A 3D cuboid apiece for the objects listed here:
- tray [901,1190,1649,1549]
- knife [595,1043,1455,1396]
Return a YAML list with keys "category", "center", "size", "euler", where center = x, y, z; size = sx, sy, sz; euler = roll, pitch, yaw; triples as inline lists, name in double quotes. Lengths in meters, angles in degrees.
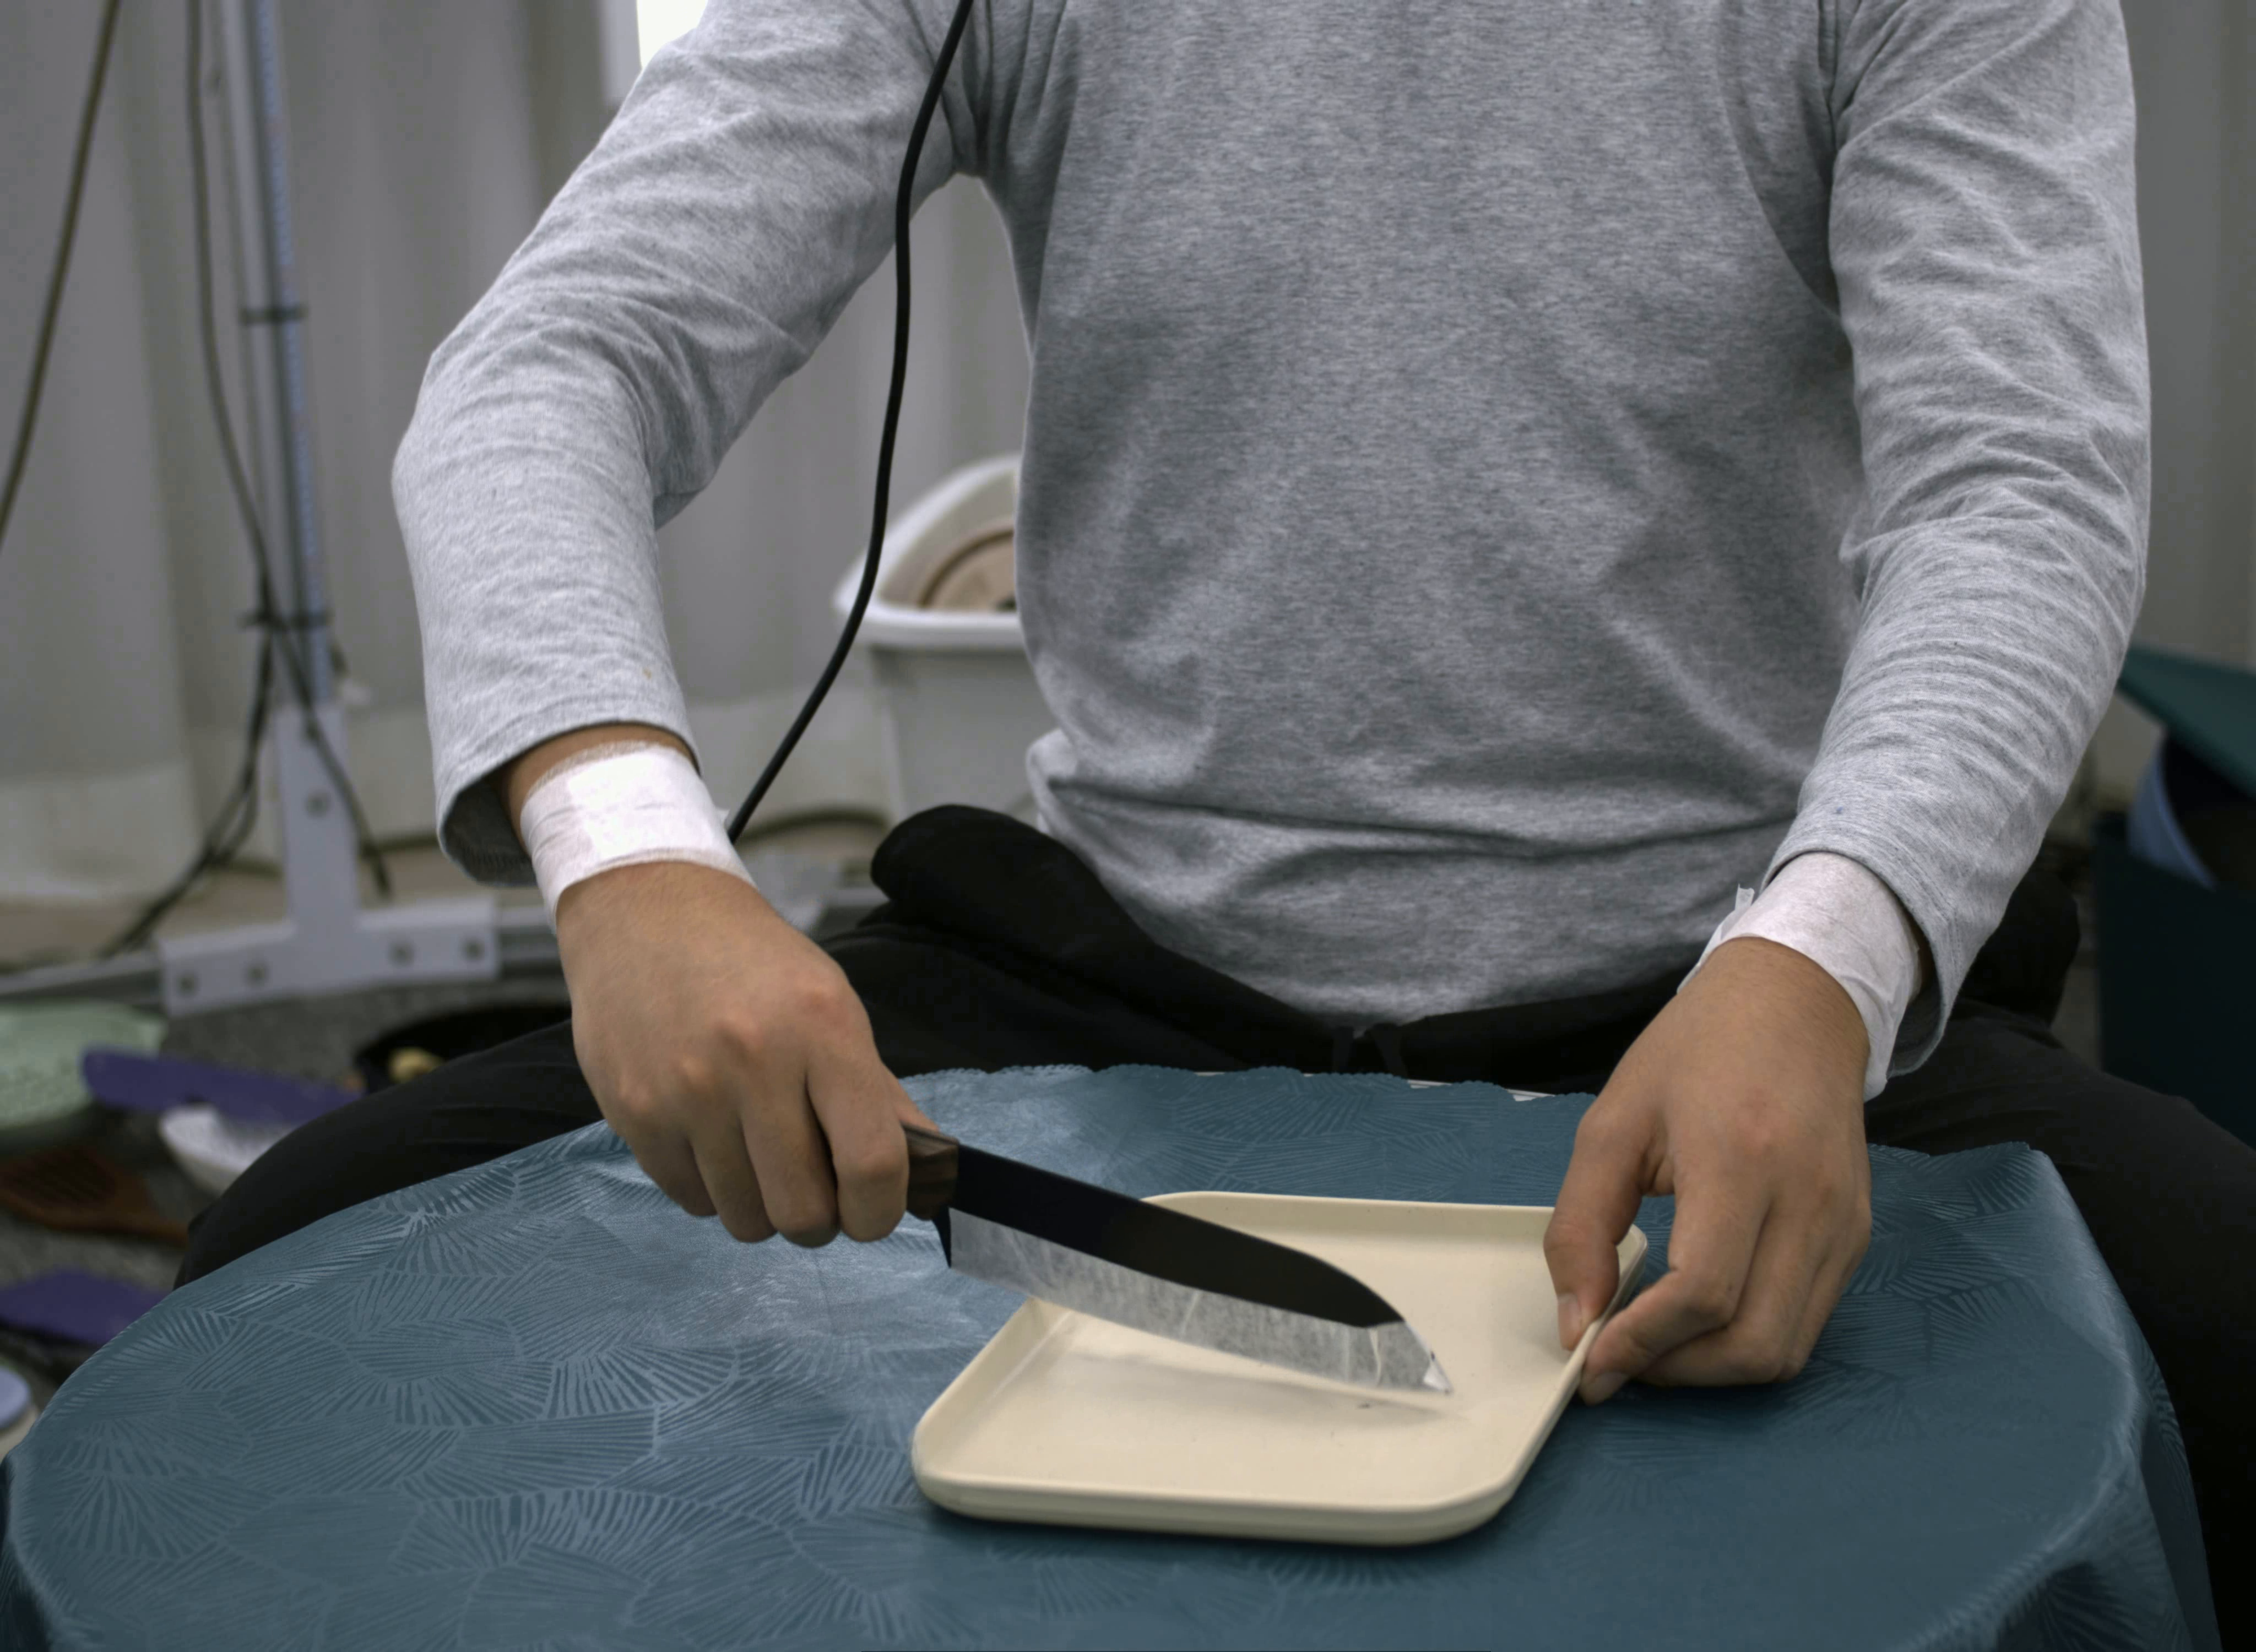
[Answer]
- category: "tray"
  center: [0.046, 0.151, 1.537]
  size: [0.171, 0.017, 0.240]
  euler: [2, 16, 17]
- category: "knife"
  center: [-0.033, 0.113, 1.570]
  size: [0.290, 0.050, 0.020]
  euler: [18, 33, 27]
